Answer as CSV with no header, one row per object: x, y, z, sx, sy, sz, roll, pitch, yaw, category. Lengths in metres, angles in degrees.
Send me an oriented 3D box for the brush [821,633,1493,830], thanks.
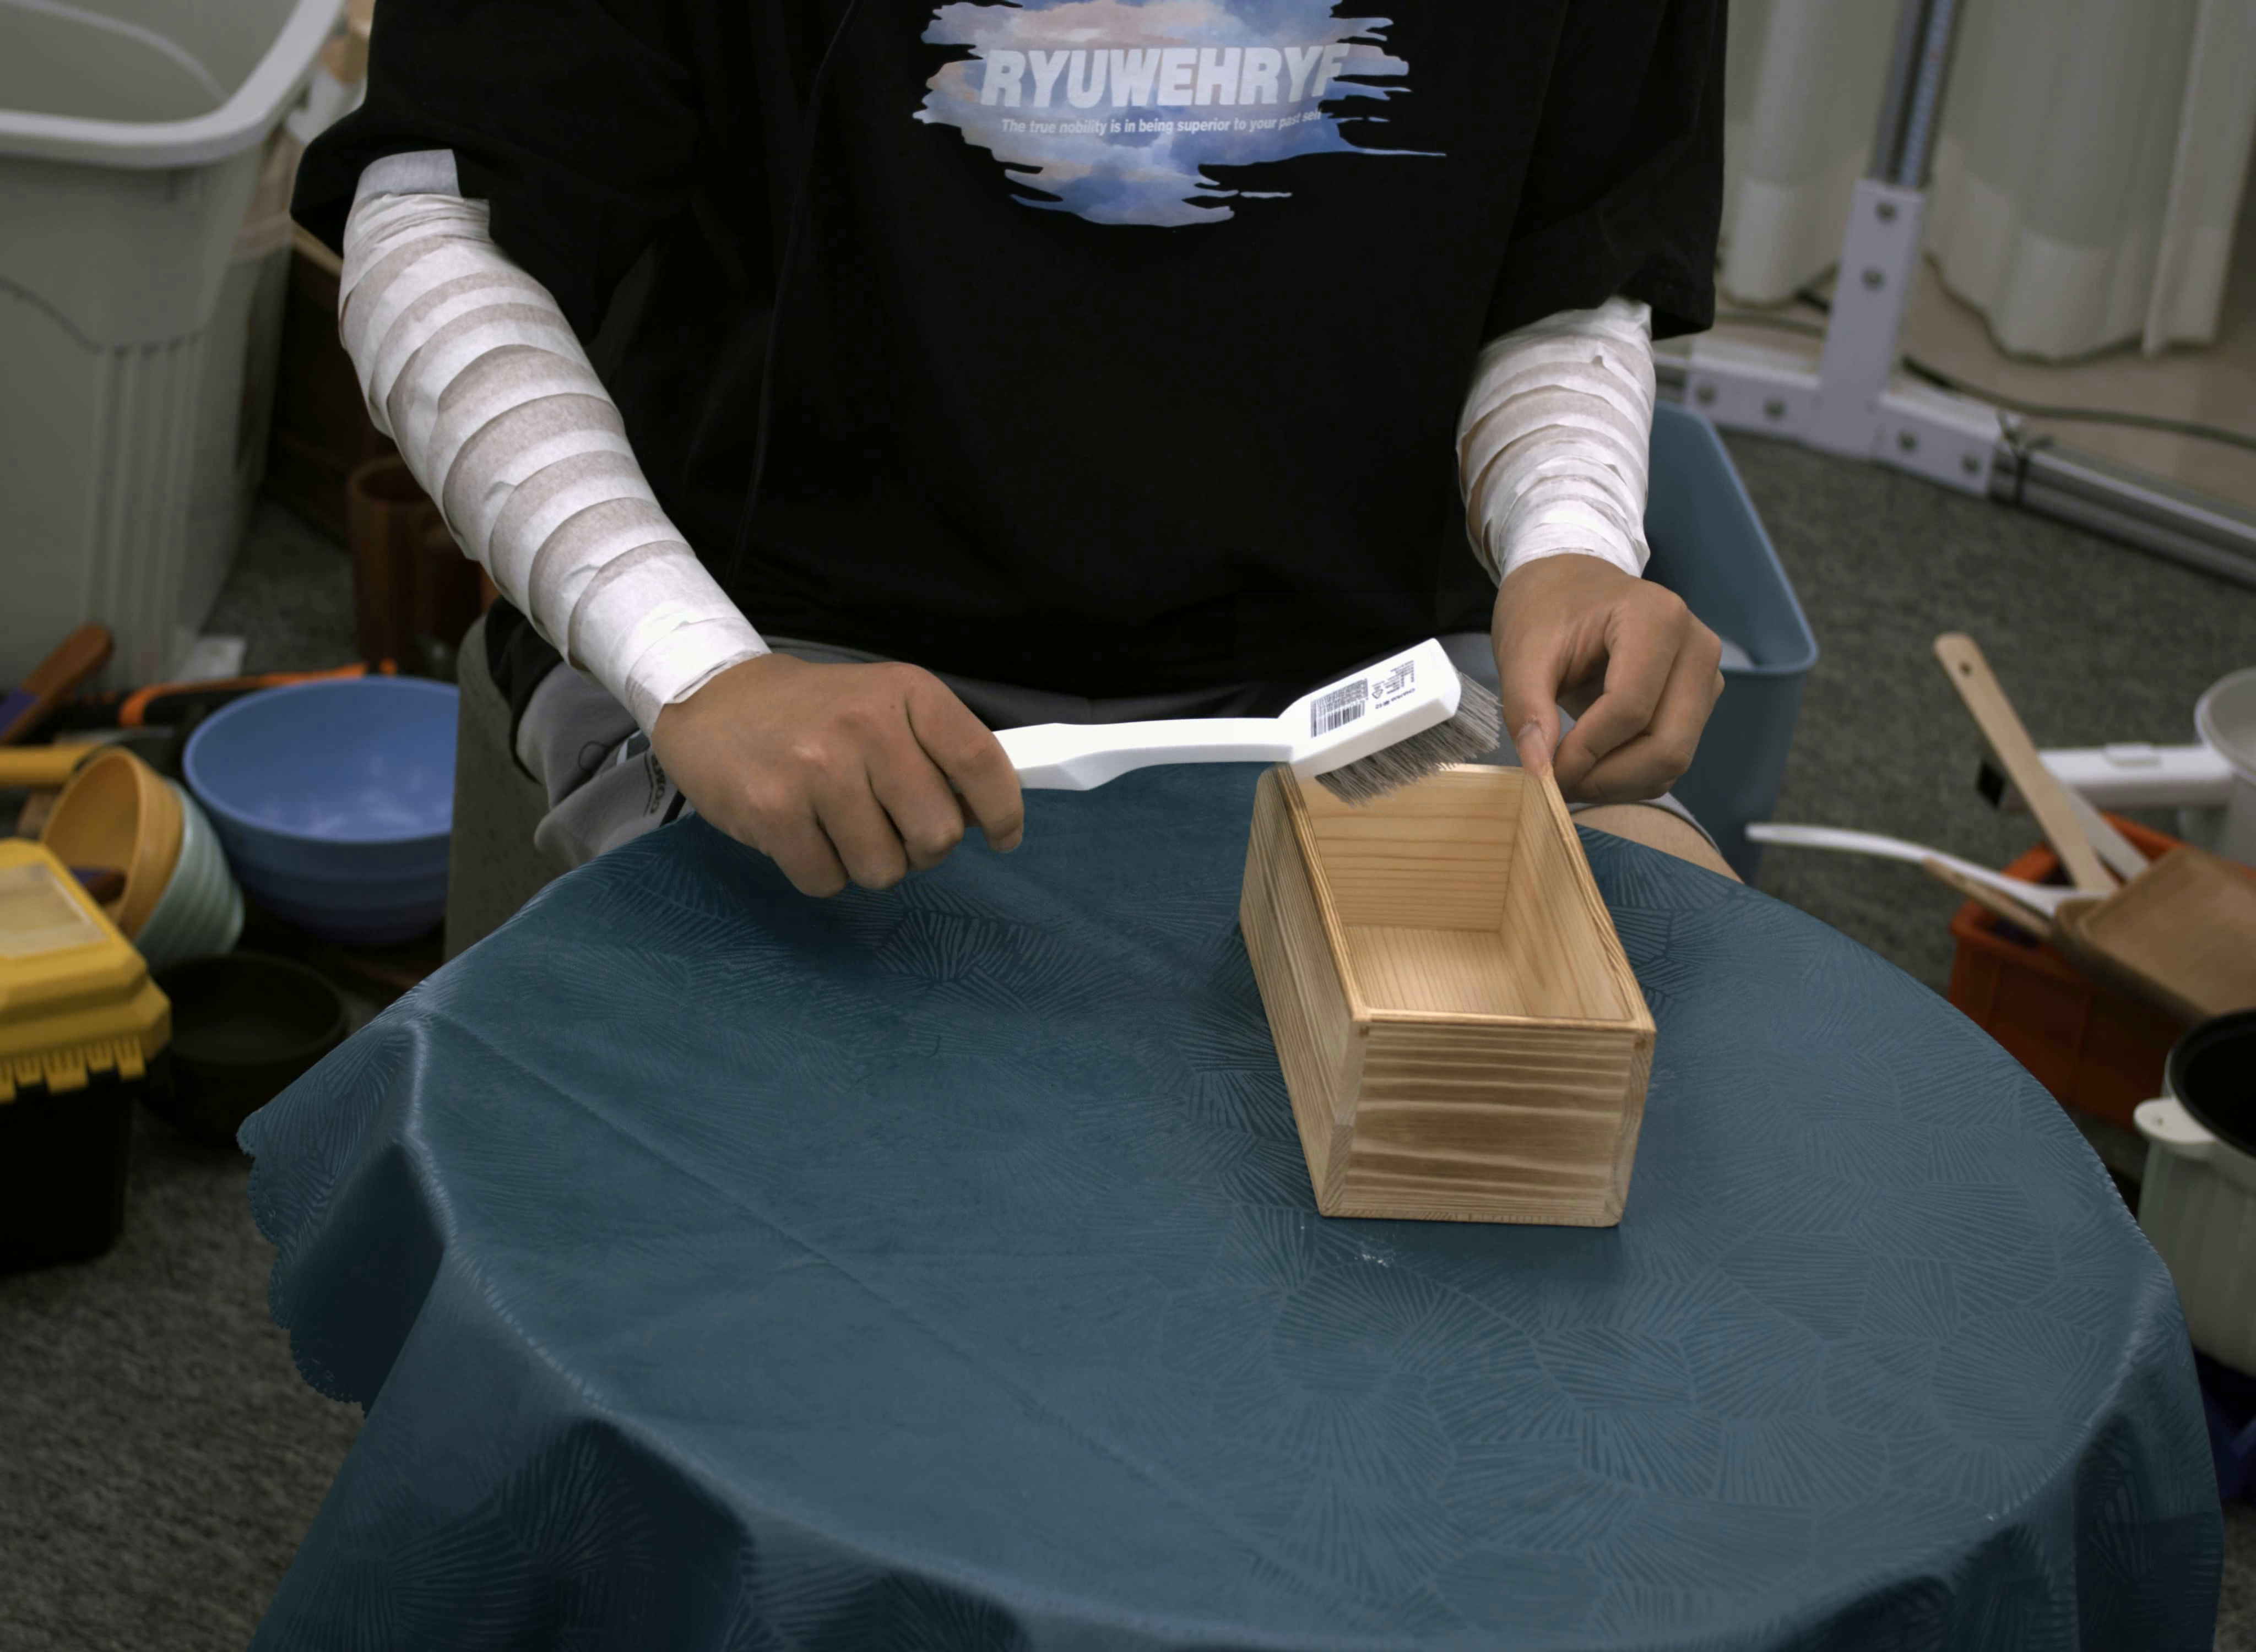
0.011,-0.019,1.913,0.243,0.050,0.034,-13,42,9,brush

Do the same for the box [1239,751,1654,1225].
0.108,0.053,1.881,0.107,0.080,0.213,2,26,-9,box
